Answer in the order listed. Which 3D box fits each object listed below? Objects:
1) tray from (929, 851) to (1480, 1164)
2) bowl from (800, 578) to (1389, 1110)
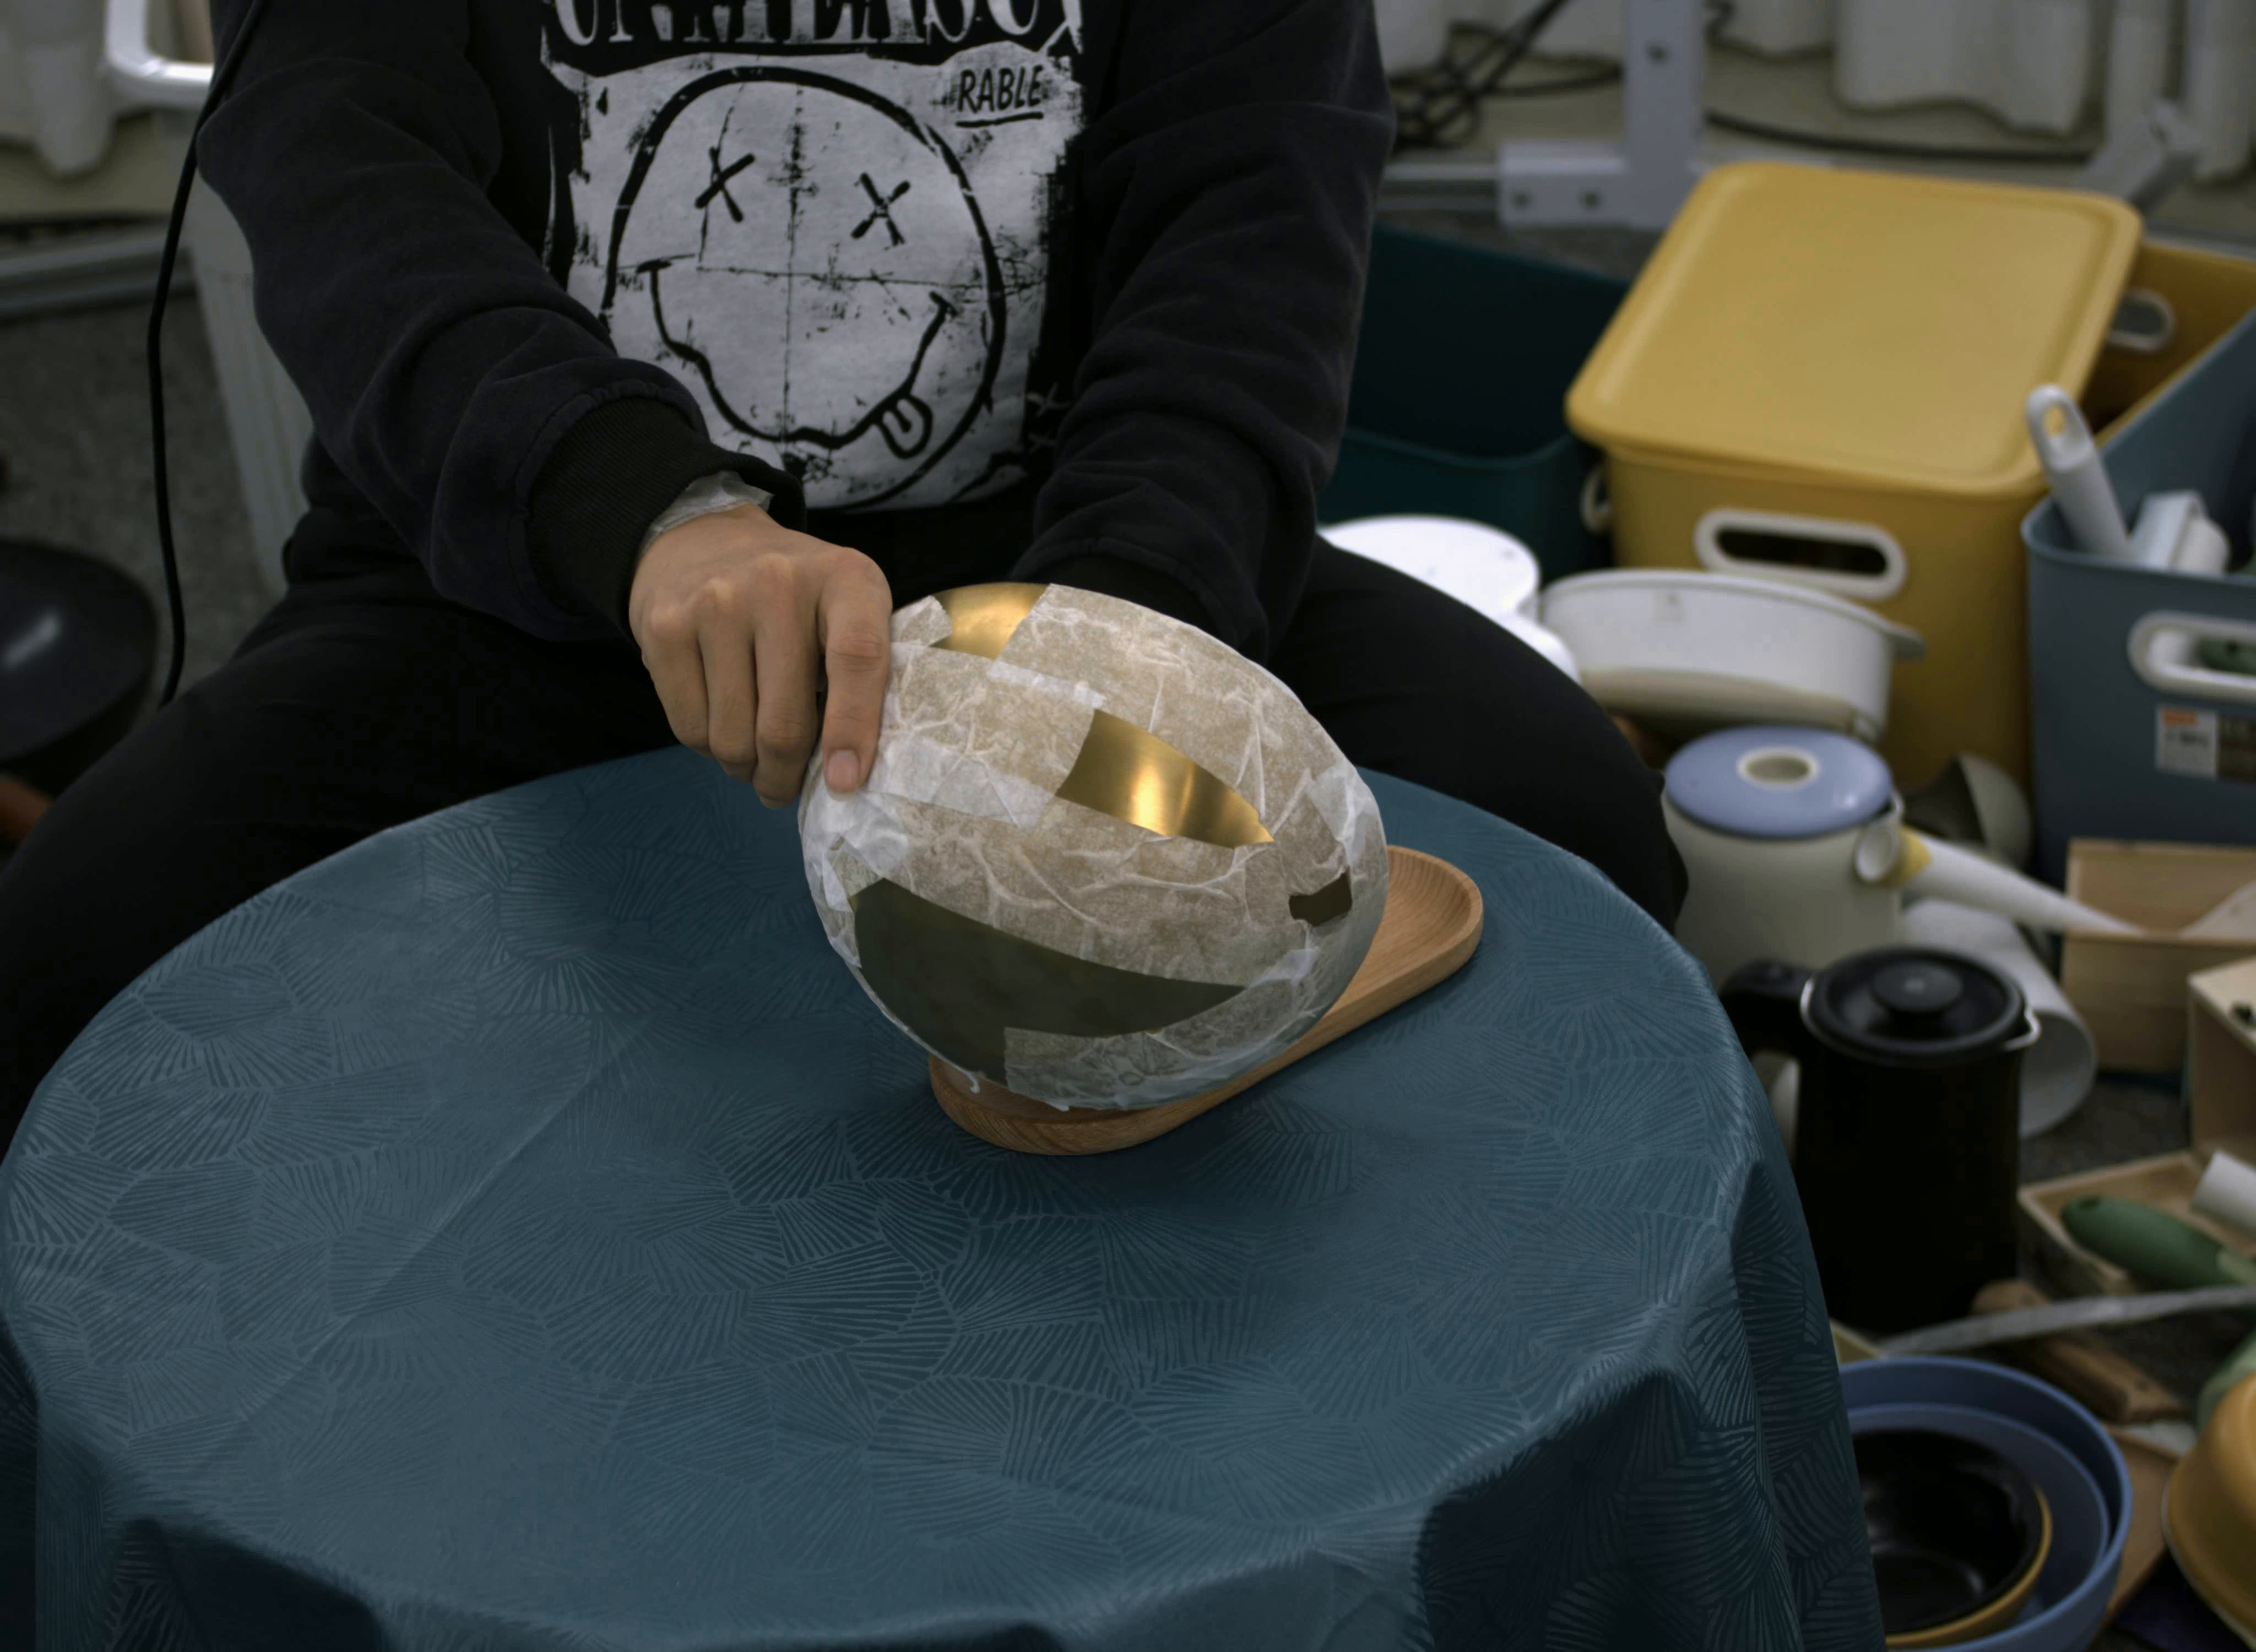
[{"bbox_3d":[0.029,0.062,1.957,0.101,0.020,0.234,20,36,41],"label":"tray"},{"bbox_3d":[-0.024,0.026,1.836,0.213,0.212,0.096,8,46,20],"label":"bowl"}]
